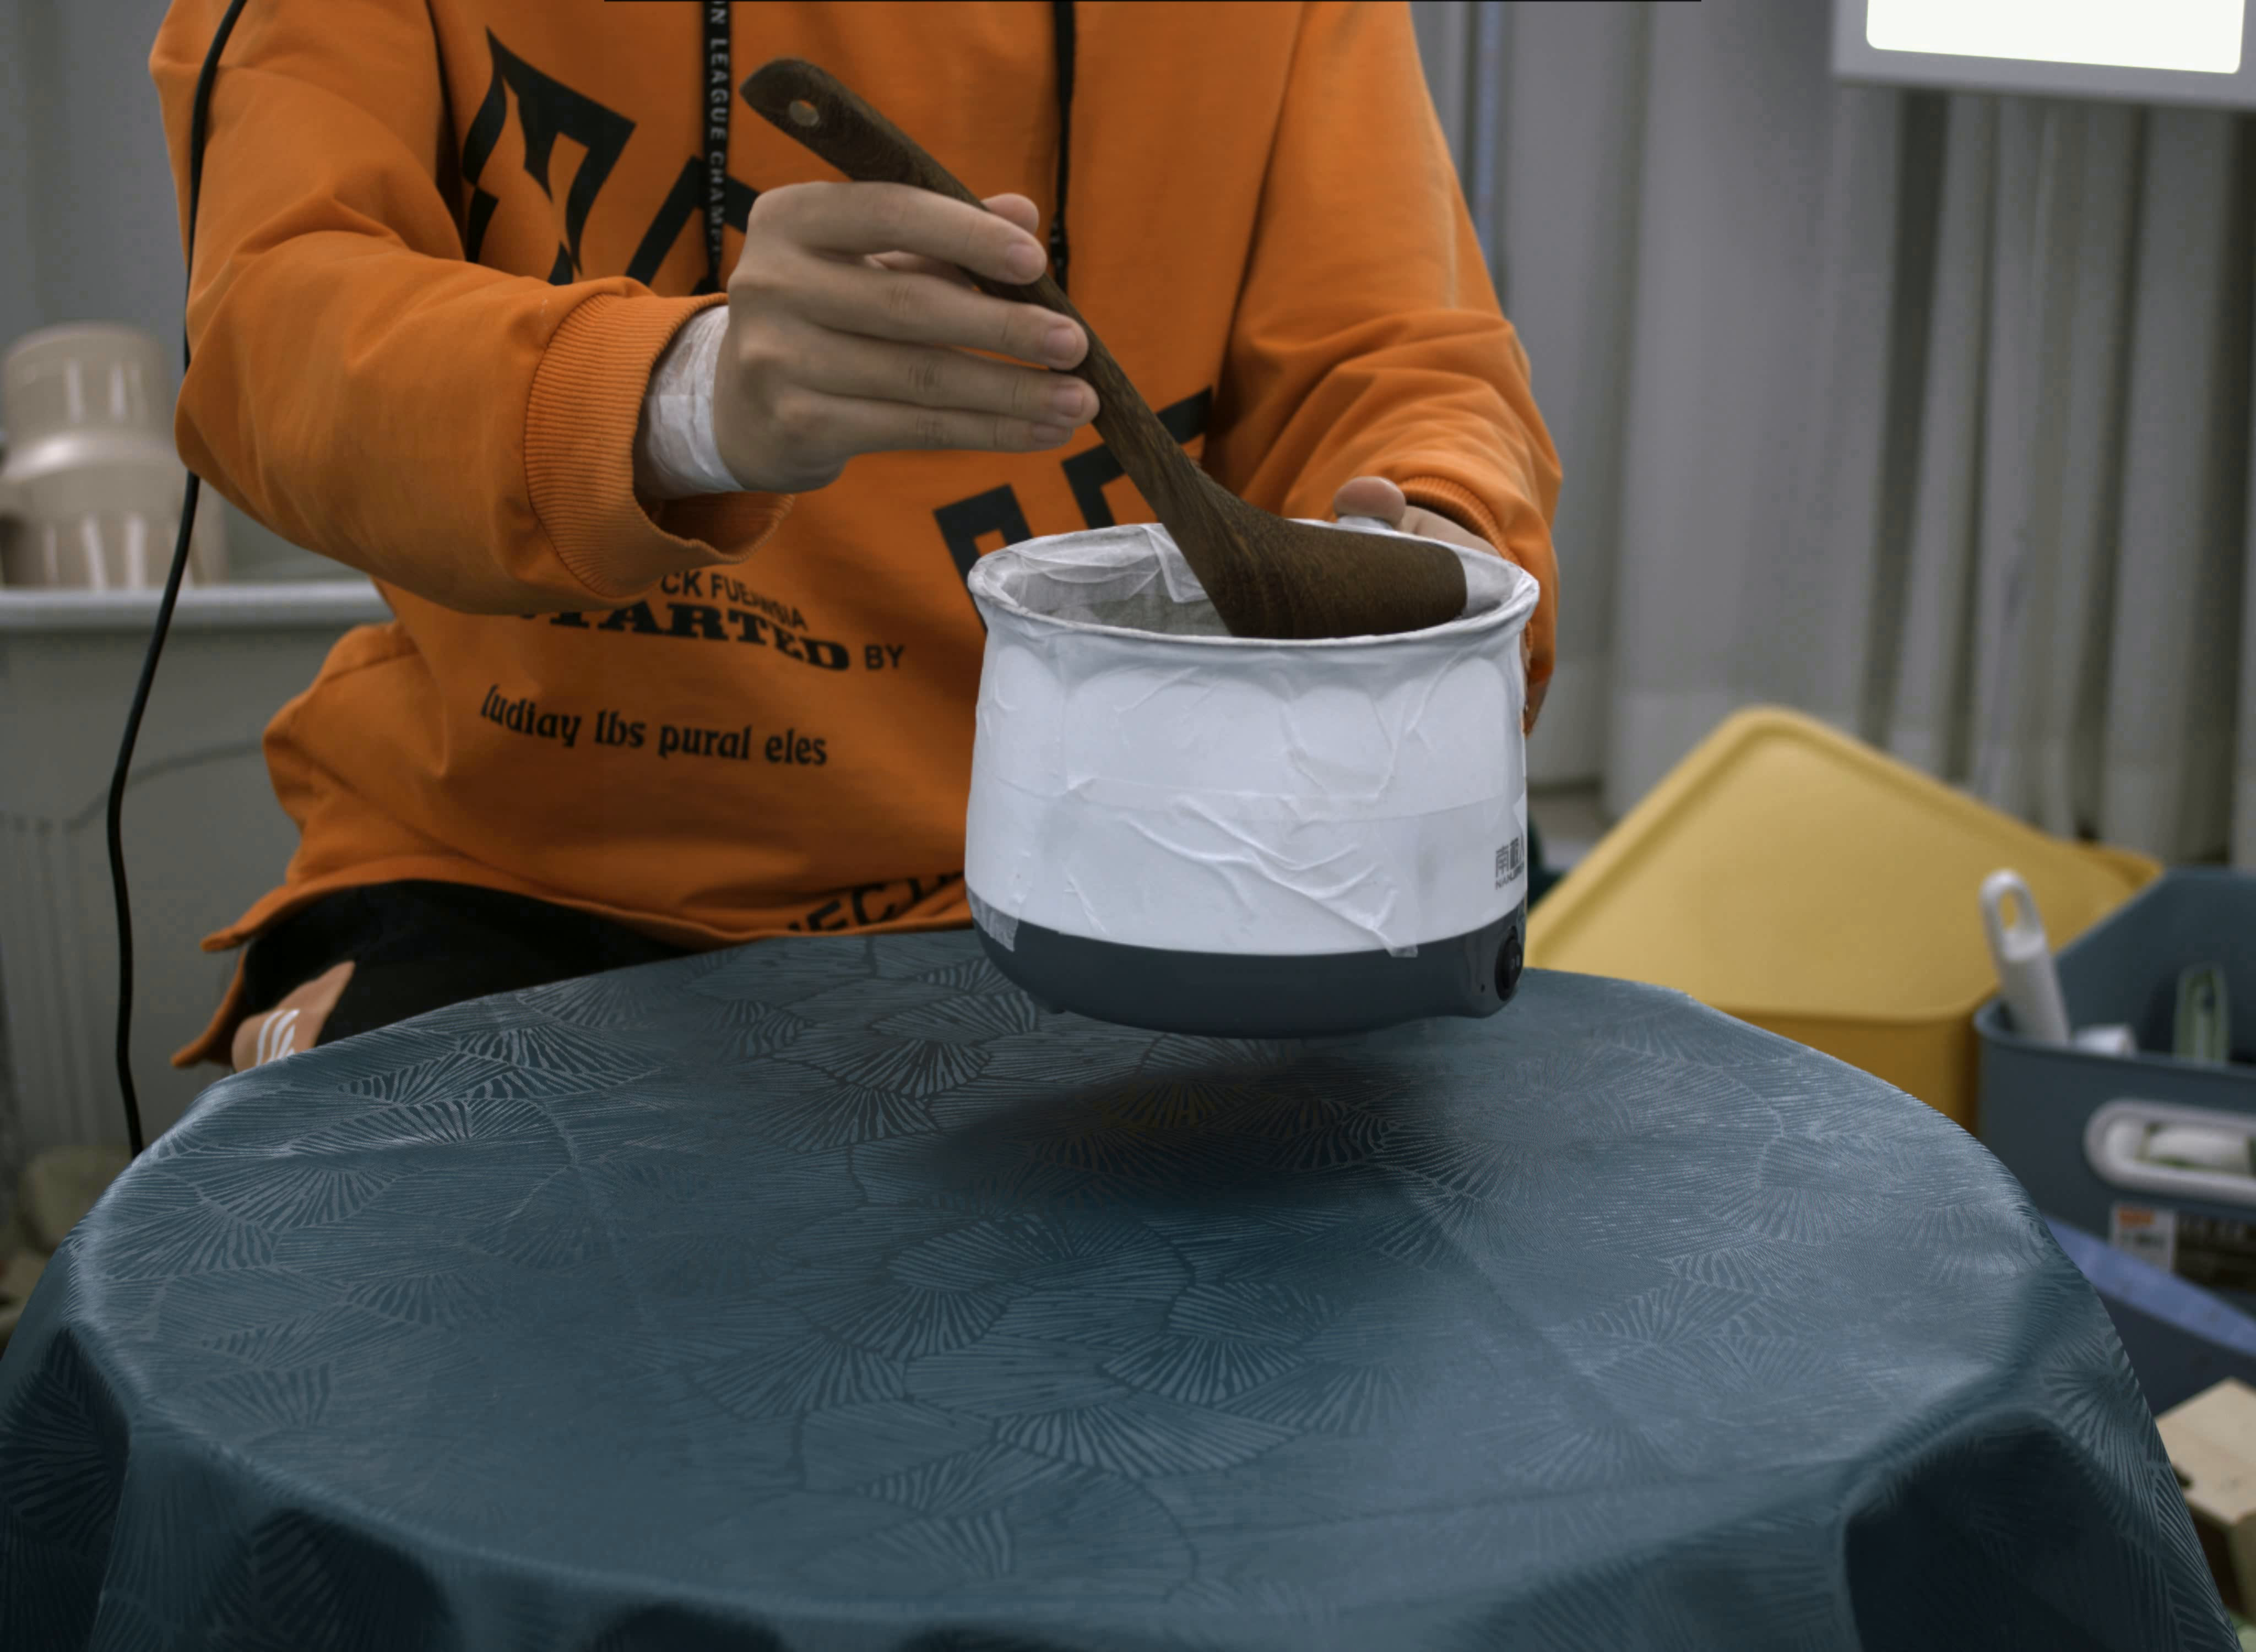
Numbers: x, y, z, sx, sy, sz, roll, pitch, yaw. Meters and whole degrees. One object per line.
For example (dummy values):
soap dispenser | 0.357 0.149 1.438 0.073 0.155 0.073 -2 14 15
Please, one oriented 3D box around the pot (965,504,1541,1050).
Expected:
pot | 0.047 -0.022 1.667 0.177 0.138 0.234 7 16 19

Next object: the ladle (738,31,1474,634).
ladle | -0.005 -0.148 1.609 0.076 0.275 0.071 -39 6 39
